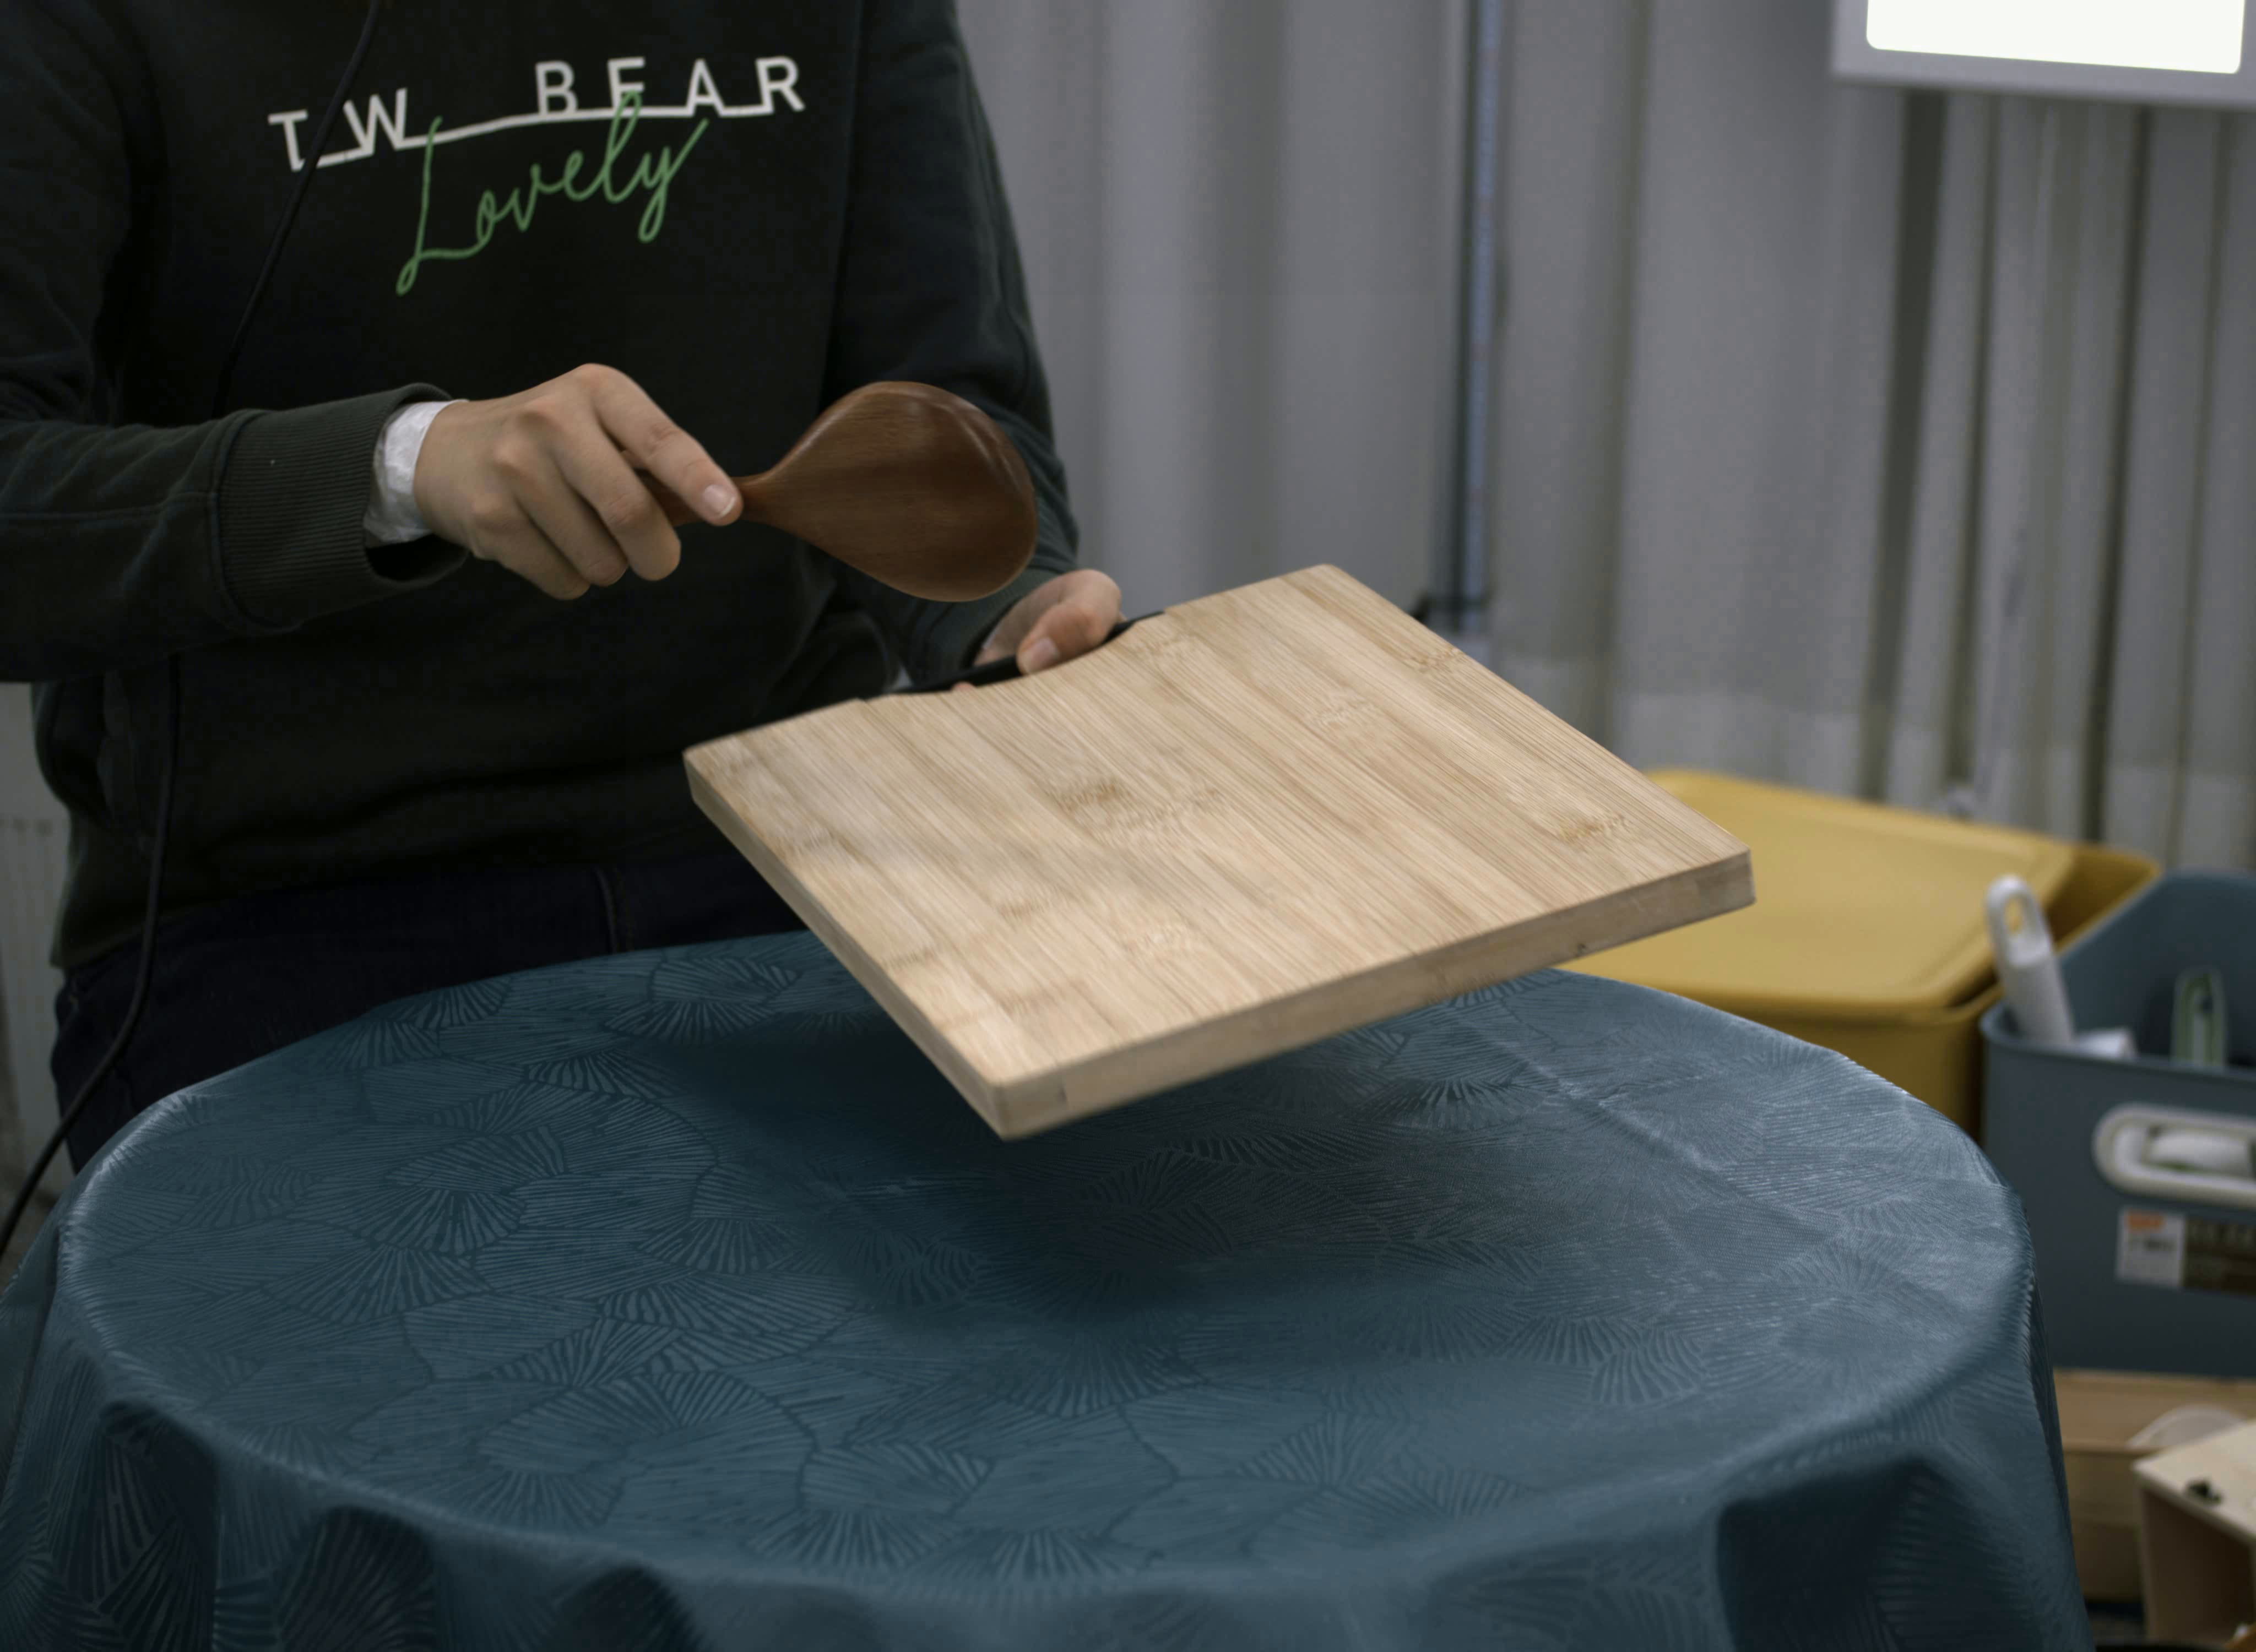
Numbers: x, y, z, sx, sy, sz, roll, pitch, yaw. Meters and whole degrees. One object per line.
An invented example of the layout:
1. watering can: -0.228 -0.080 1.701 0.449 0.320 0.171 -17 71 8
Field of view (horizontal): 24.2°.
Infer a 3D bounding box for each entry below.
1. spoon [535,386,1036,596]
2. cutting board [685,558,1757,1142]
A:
1. spoon: -0.113 -0.102 1.656 0.213 0.076 0.017 3 35 43
2. cutting board: 0.018 0.000 1.668 0.251 0.024 0.344 -17 23 -16
